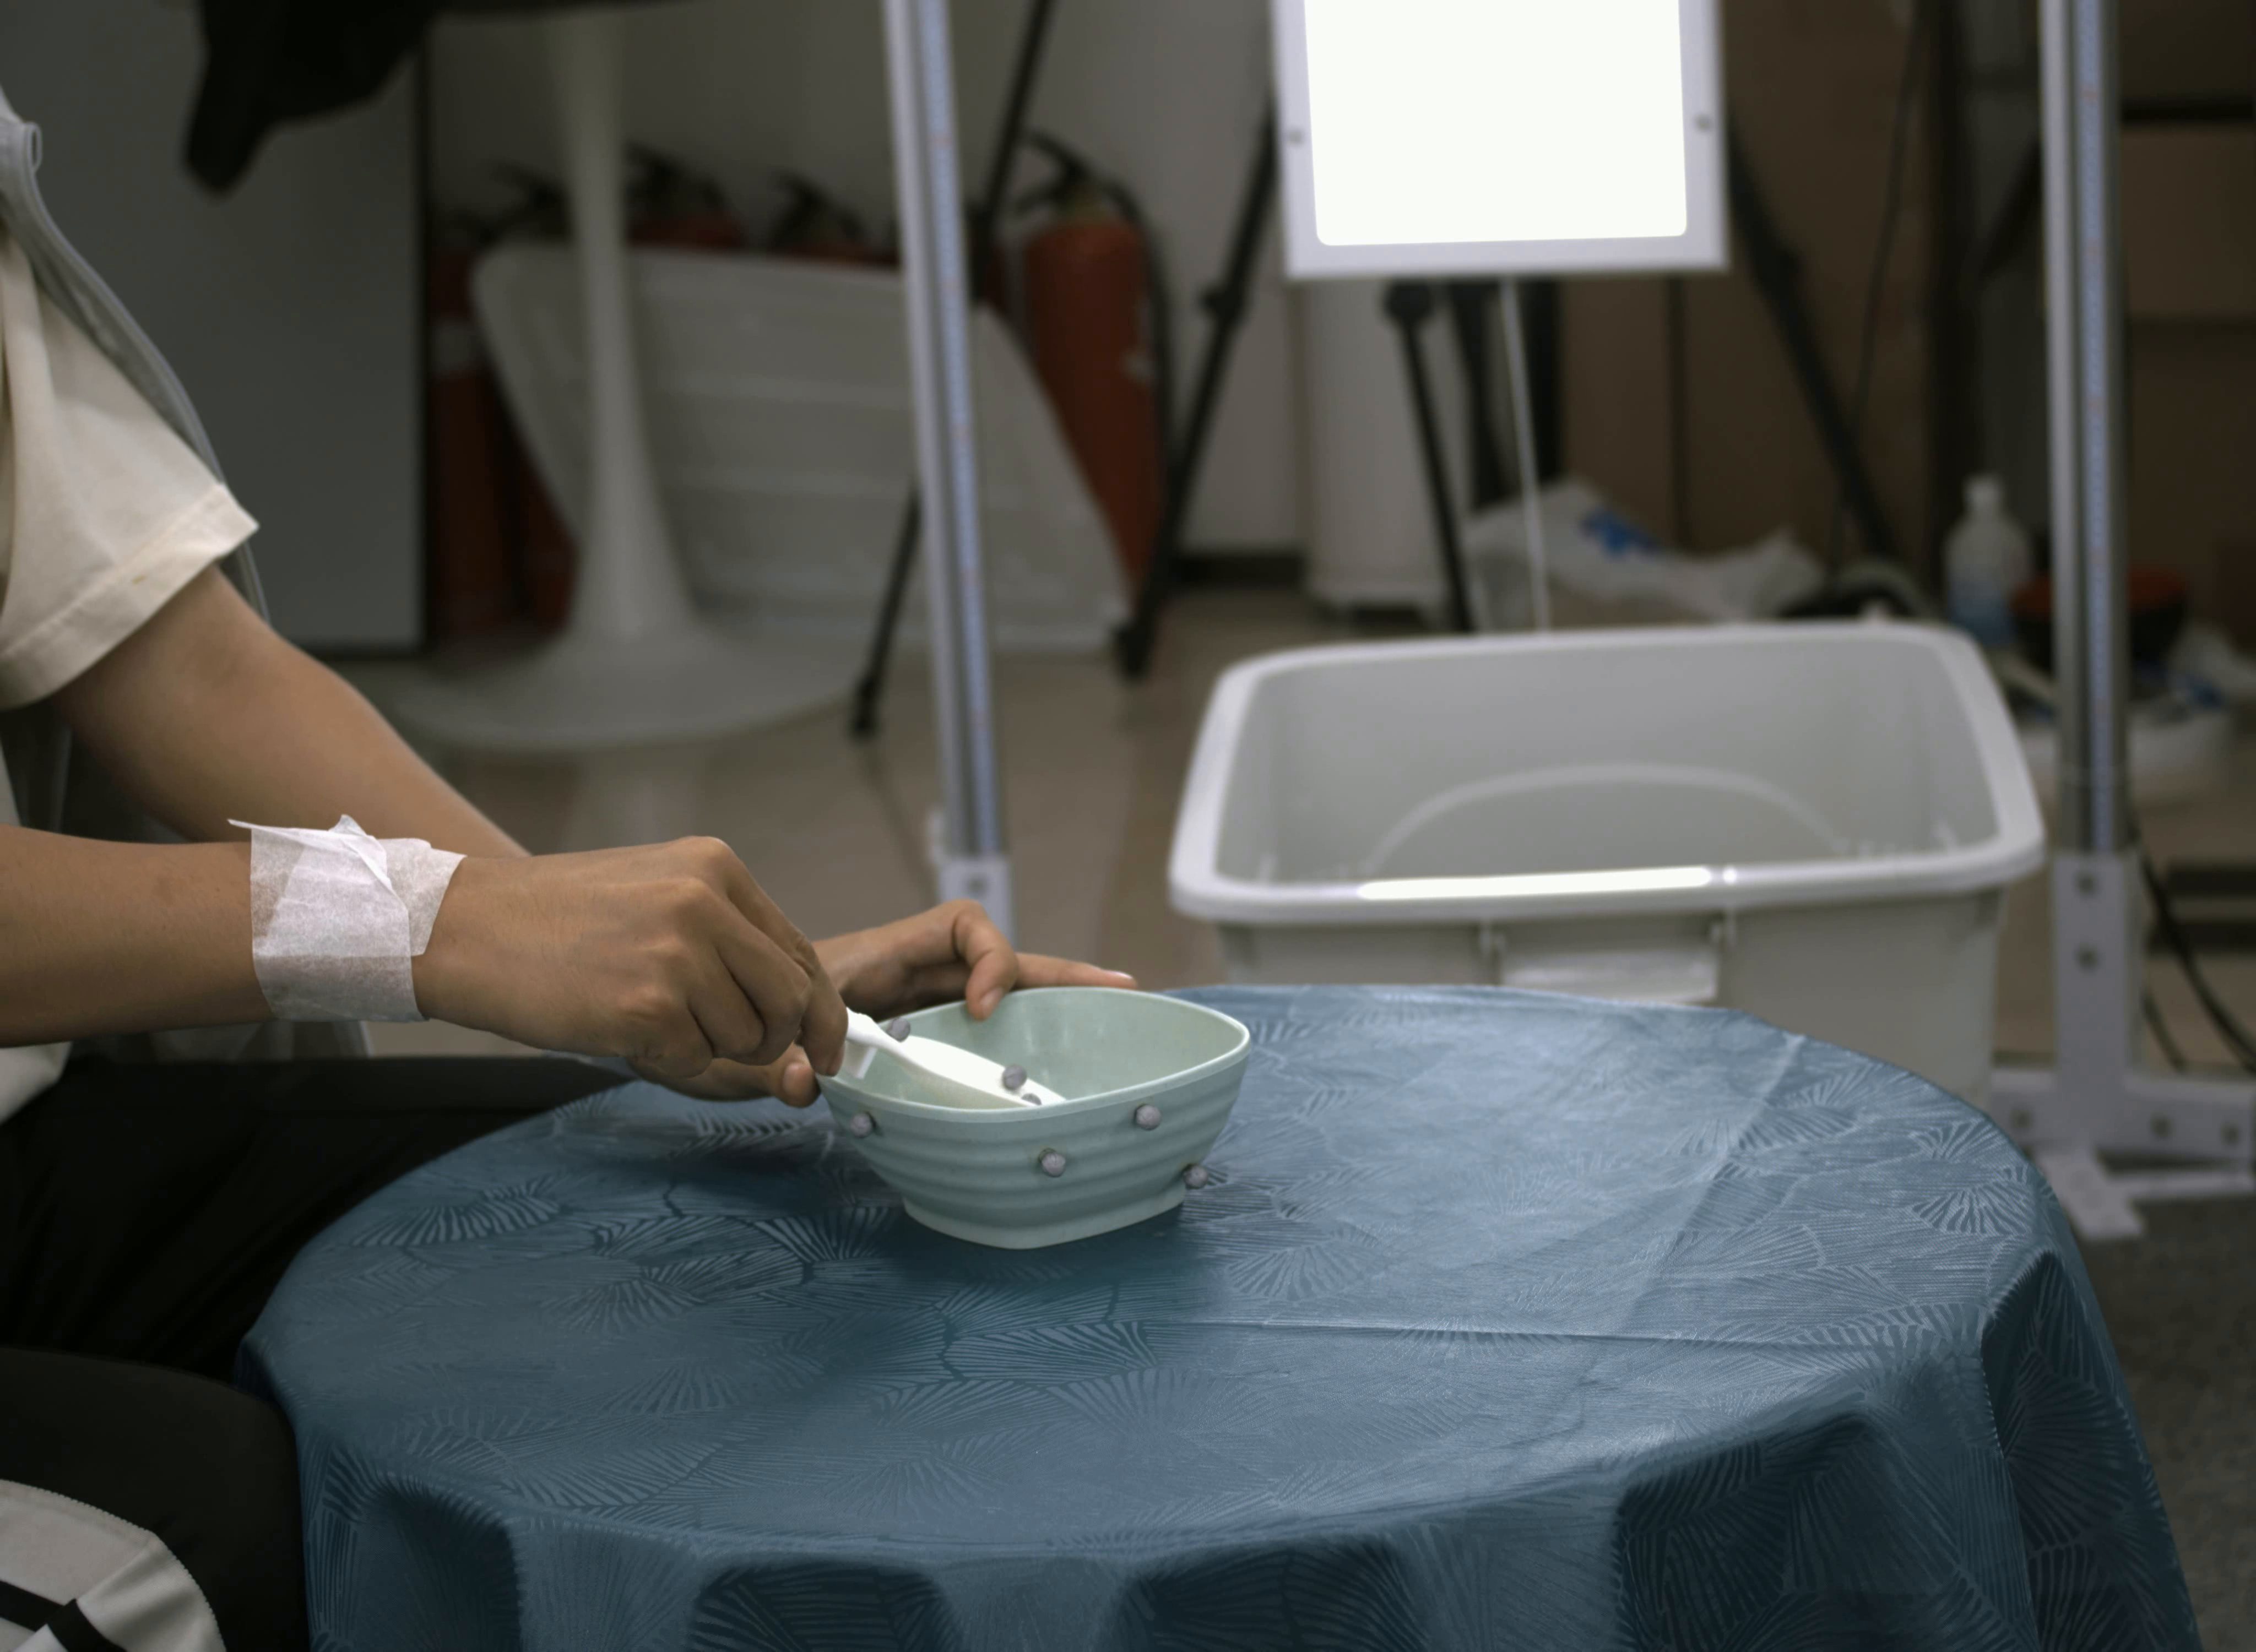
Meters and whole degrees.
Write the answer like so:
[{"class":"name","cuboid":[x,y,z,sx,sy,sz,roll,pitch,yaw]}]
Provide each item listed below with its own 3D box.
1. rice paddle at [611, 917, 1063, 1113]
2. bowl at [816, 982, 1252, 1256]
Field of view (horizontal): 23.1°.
[{"class":"rice paddle","cuboid":[-0.085,0.071,1.847,0.201,0.029,0.070,21,6,-39]},{"class":"bowl","cuboid":[-0.030,0.103,1.887,0.151,0.059,0.151,-5,15,0]}]
